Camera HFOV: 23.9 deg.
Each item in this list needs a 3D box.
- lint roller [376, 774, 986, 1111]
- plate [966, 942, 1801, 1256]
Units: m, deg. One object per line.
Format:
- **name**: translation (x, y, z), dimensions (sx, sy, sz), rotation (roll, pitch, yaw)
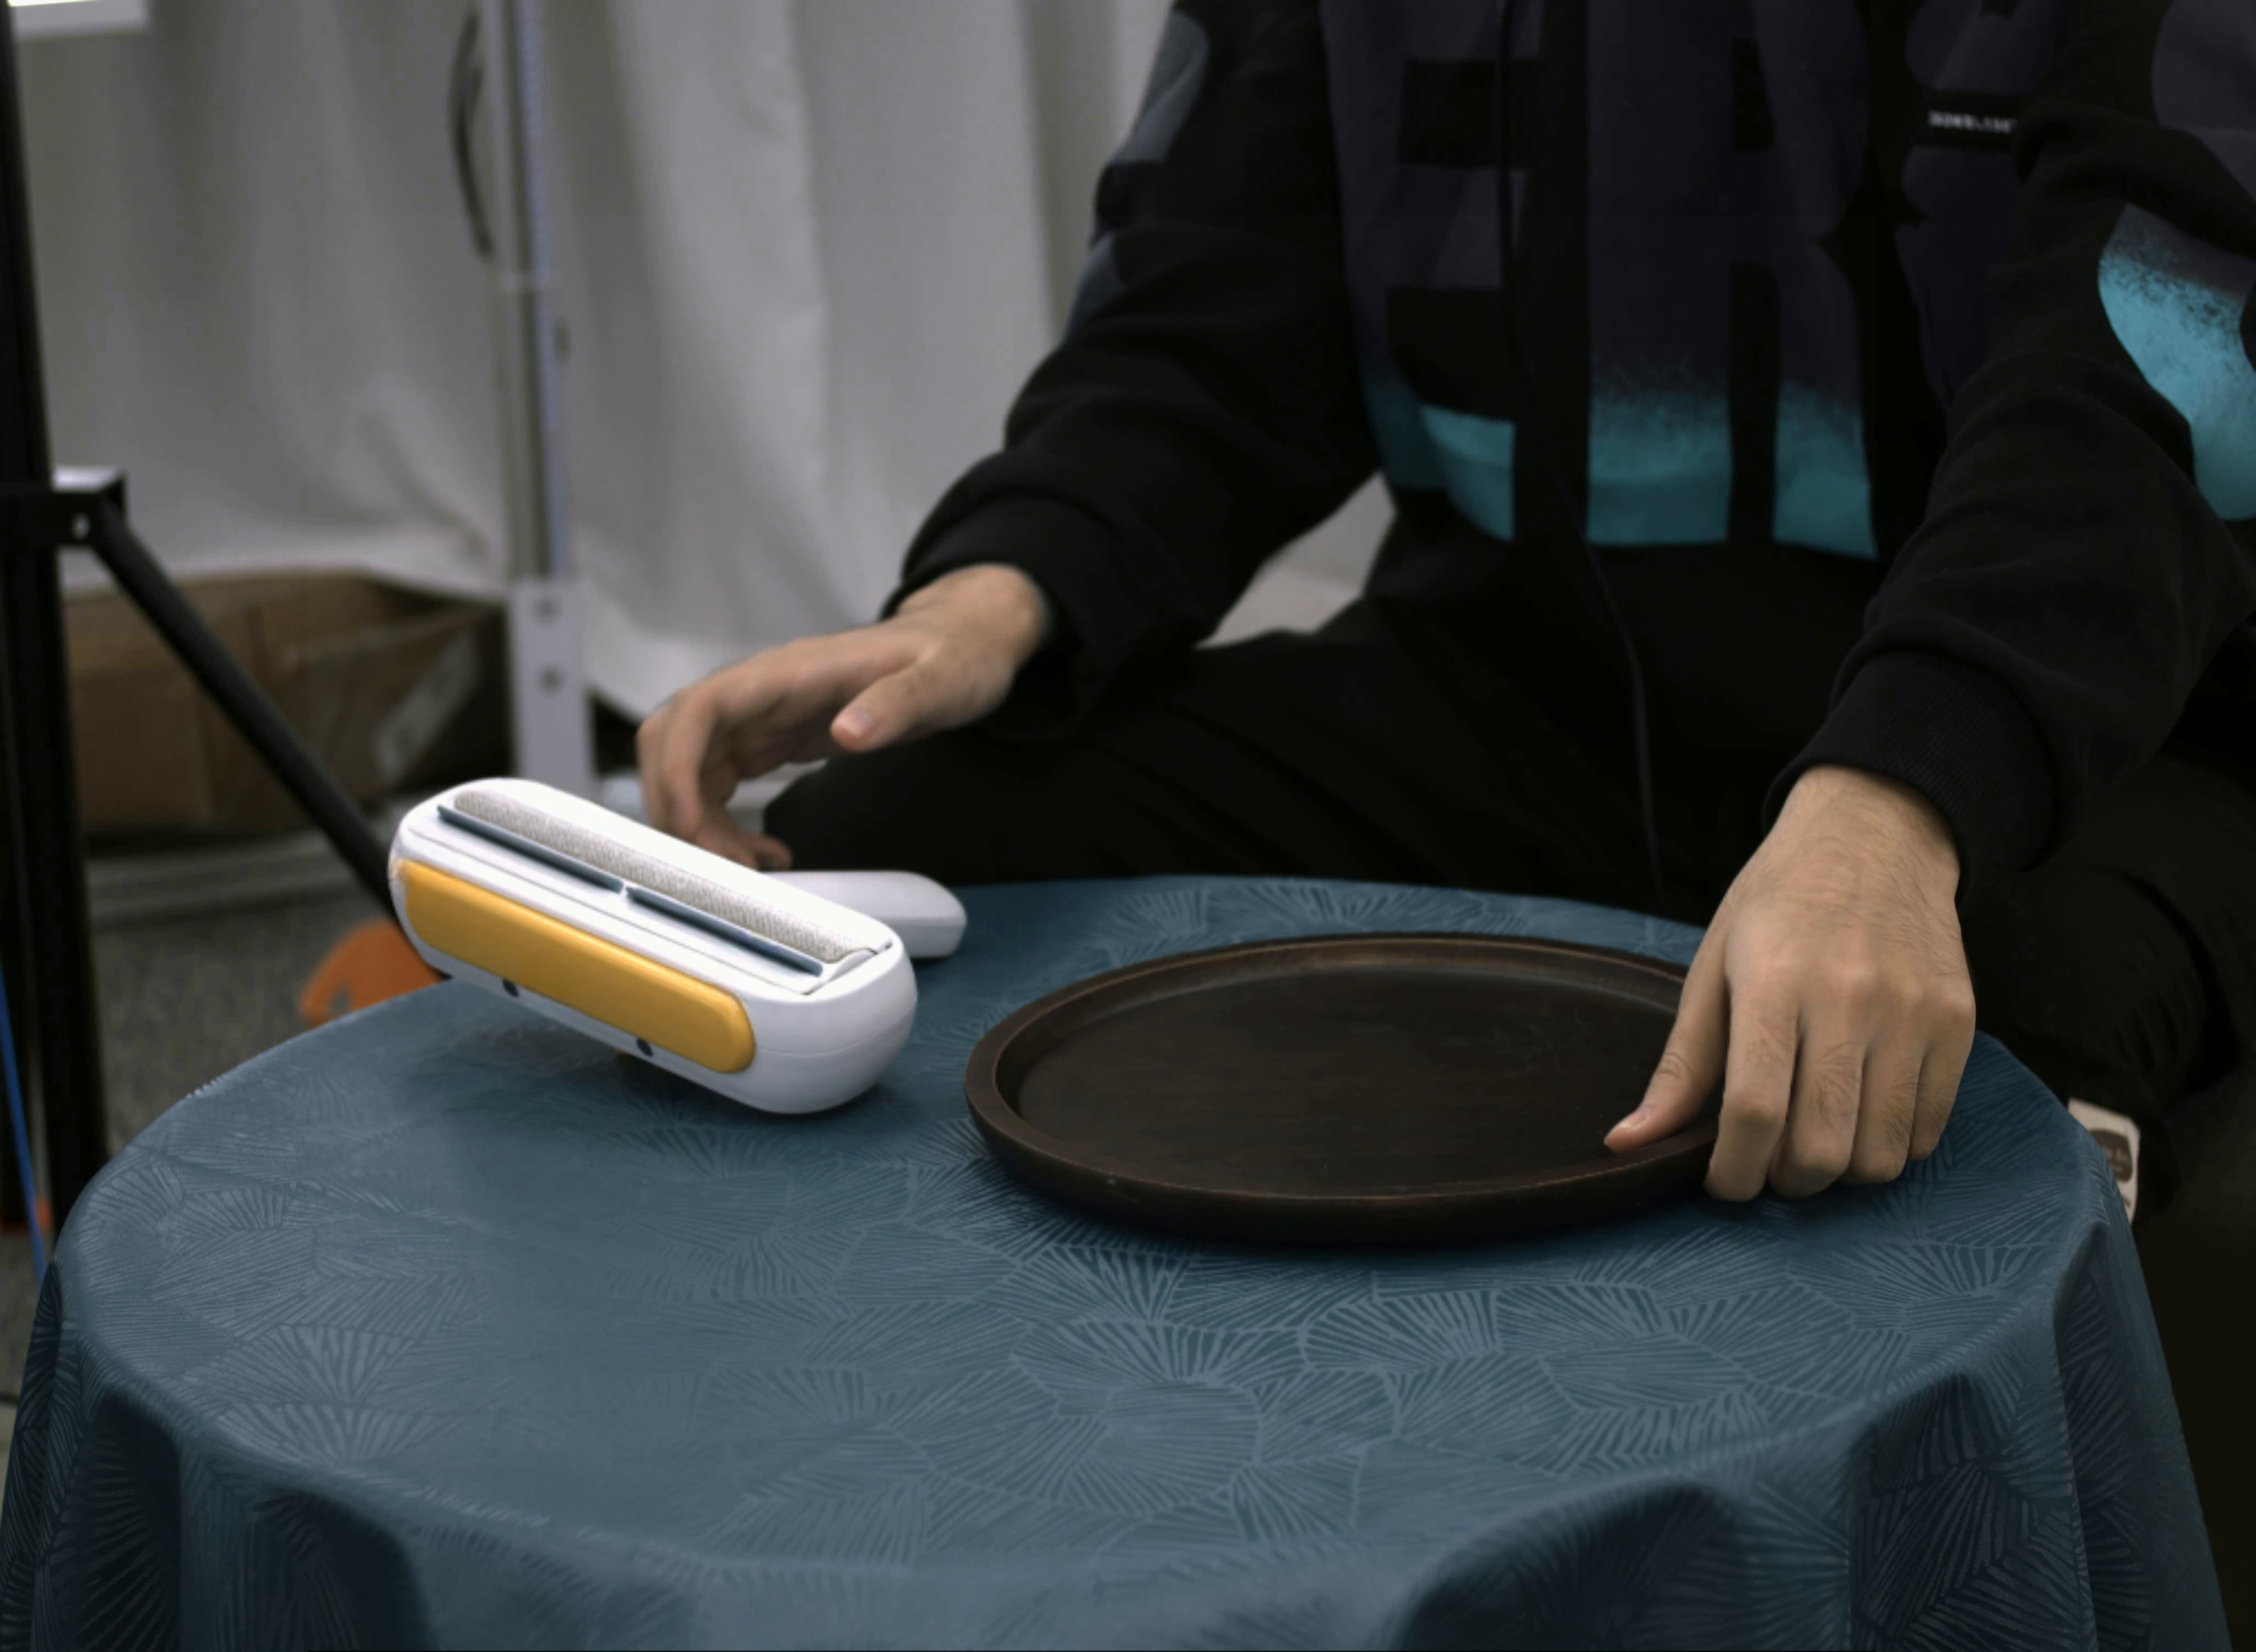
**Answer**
- **lint roller**: translation (-0.119, 0.030, 1.730), dimensions (0.197, 0.074, 0.188), rotation (18, 24, 39)
- **plate**: translation (0.077, 0.080, 1.603), dimensions (0.253, 0.029, 0.256), rotation (-2, 15, -1)
